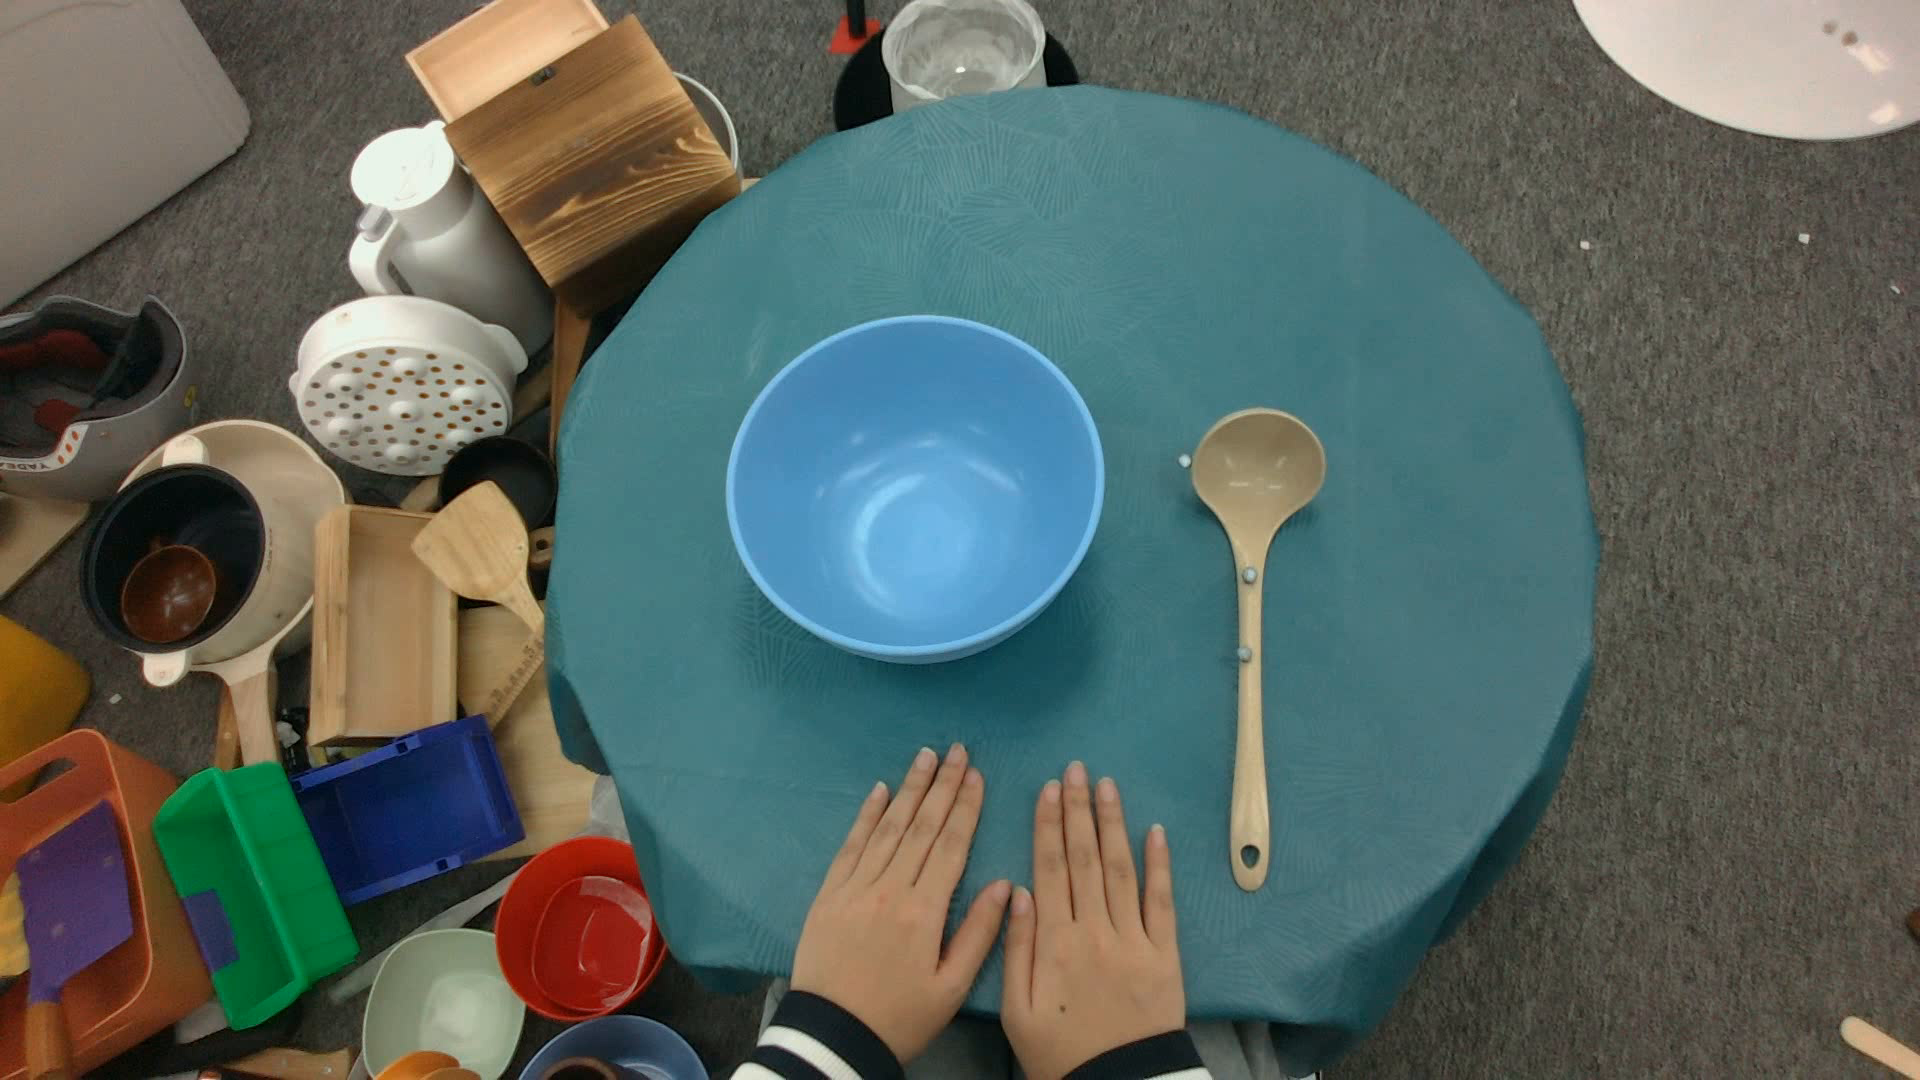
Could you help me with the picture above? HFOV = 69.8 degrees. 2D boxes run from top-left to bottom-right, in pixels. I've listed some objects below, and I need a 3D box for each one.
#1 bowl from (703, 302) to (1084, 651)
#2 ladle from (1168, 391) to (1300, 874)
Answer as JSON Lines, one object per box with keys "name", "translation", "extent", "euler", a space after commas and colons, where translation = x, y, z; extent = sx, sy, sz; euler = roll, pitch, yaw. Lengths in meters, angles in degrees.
{"name": "bowl", "translation": [-0.034, -0.022, 0.751], "extent": [0.196, 0.095, 0.197], "euler": [0, 66, 0]}
{"name": "ladle", "translation": [0.147, 0.041, 0.724], "extent": [0.072, 0.072, 0.255], "euler": [1, 66, 4]}
